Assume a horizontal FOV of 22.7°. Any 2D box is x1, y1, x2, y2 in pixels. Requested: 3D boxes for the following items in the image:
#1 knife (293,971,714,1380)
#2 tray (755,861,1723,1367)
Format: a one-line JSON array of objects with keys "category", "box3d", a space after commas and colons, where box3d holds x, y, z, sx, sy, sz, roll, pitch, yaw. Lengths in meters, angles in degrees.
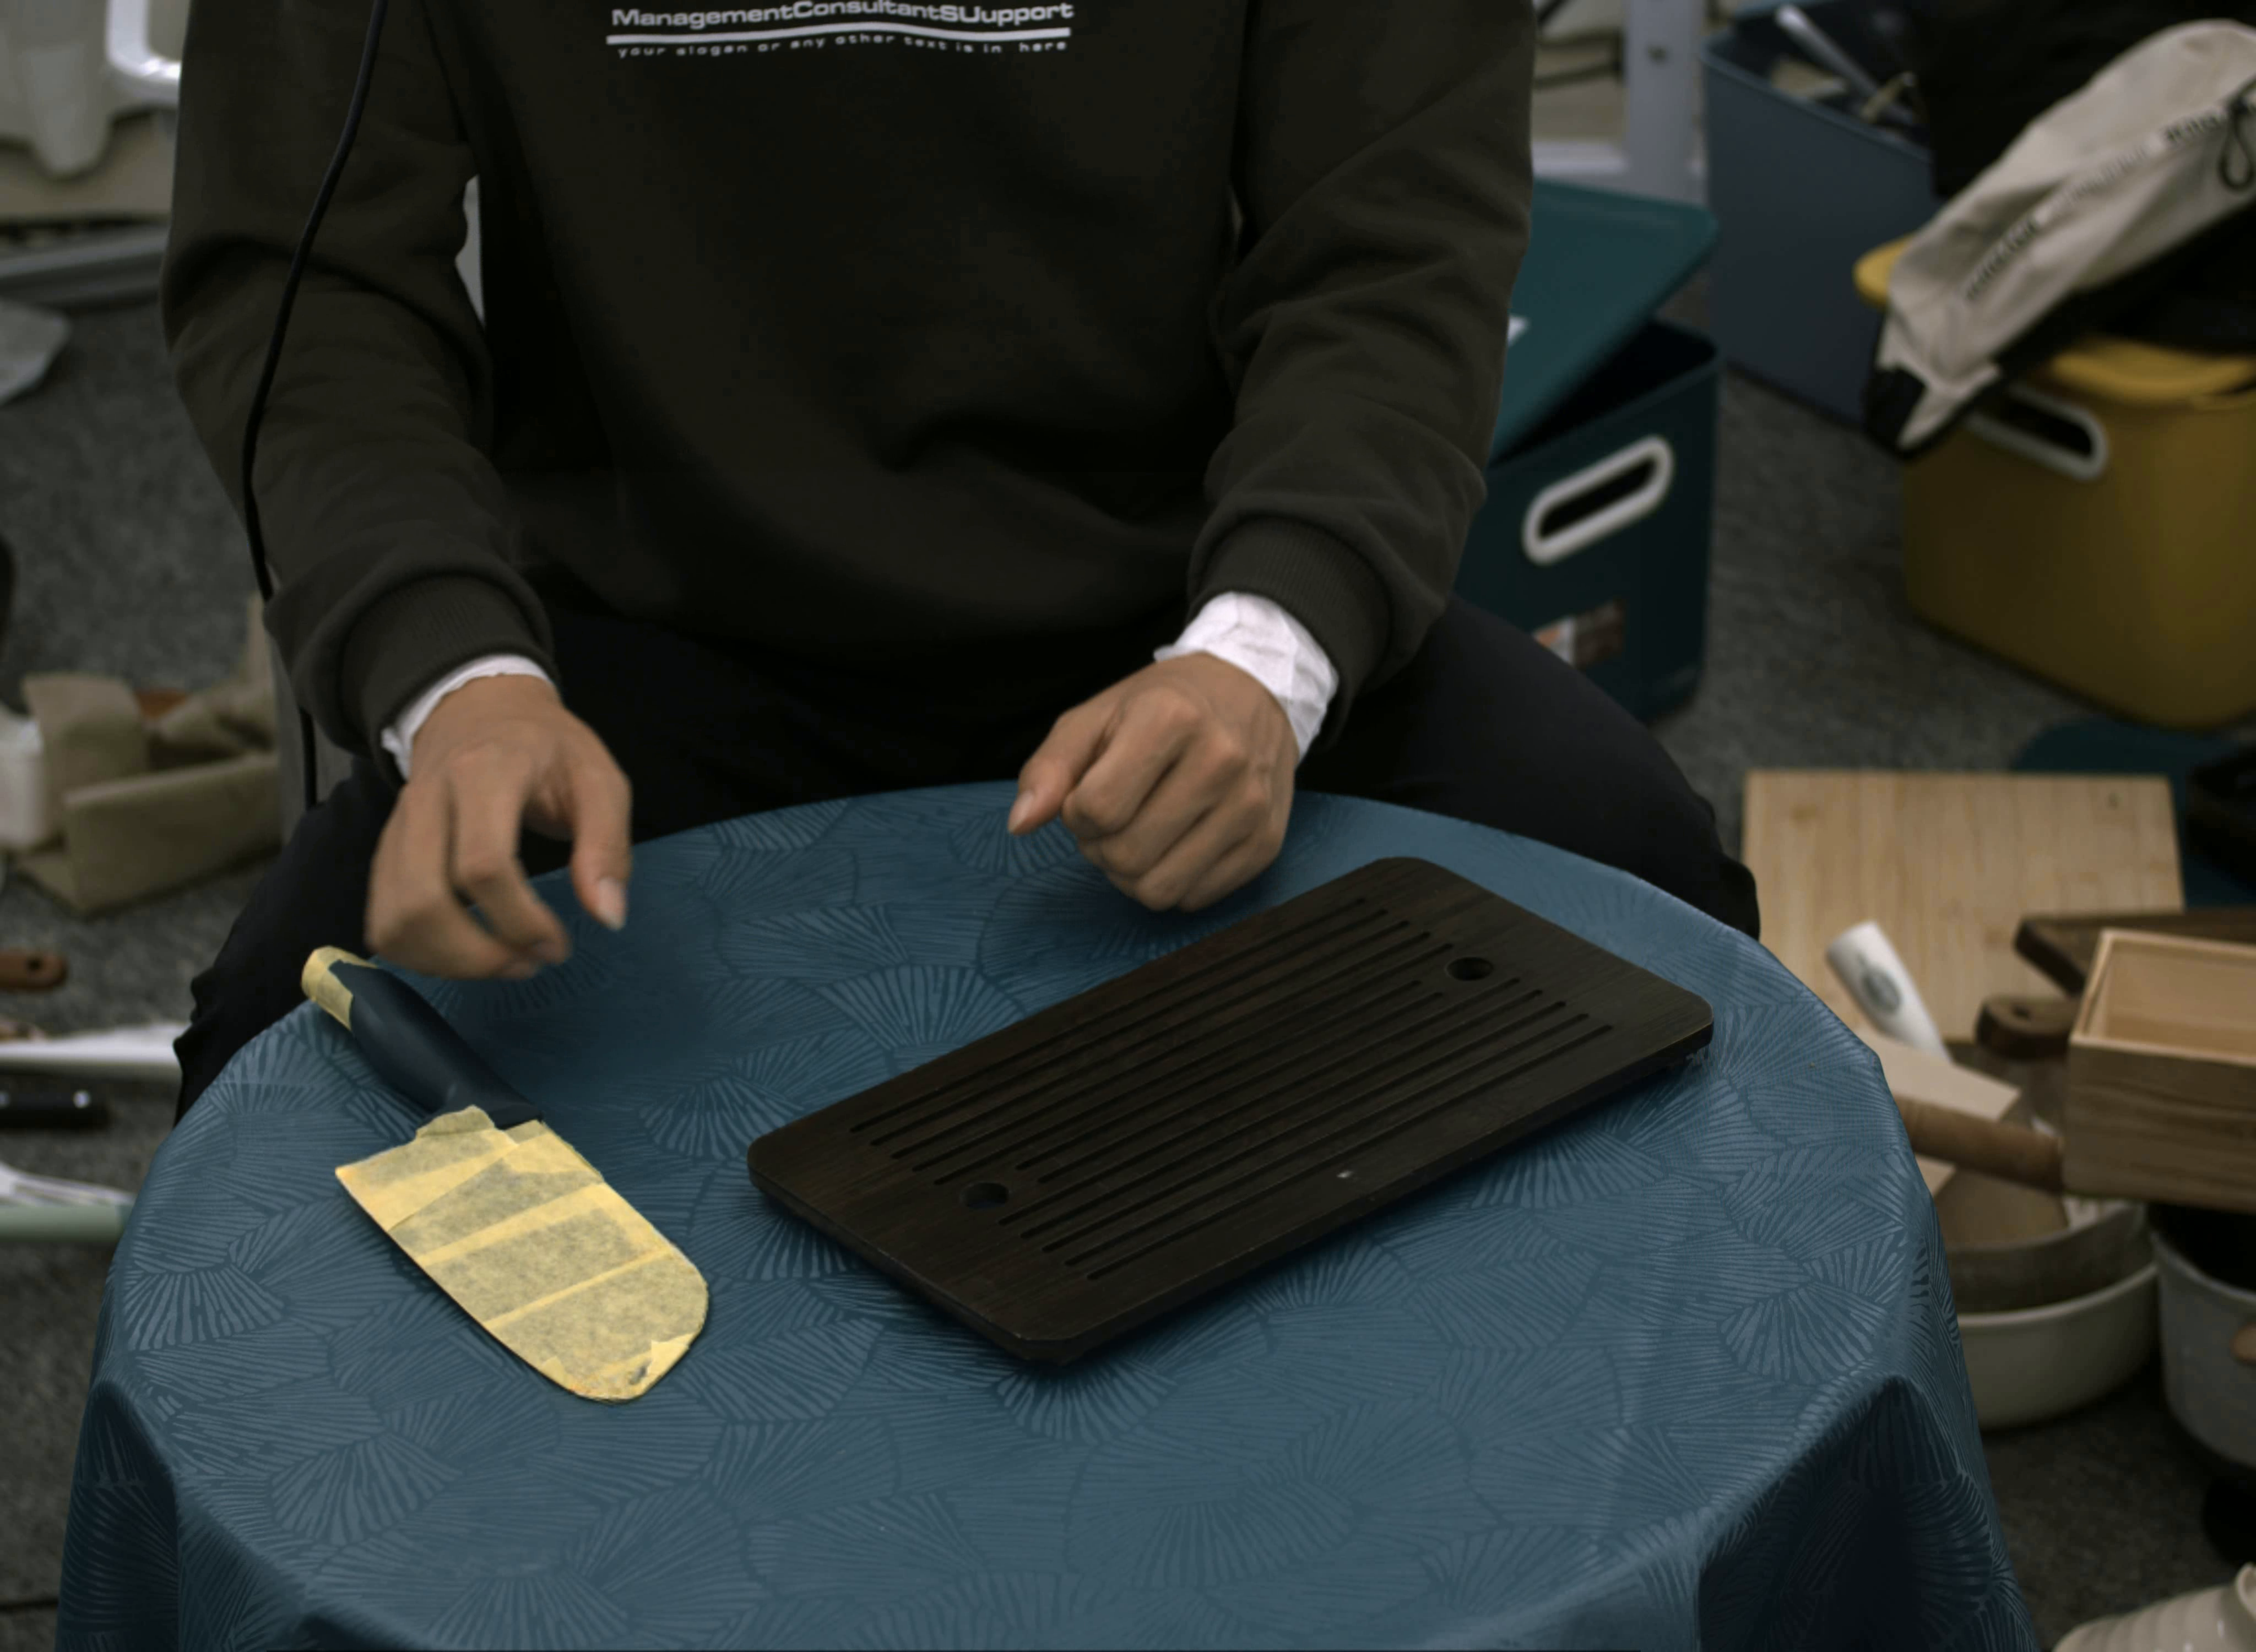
[{"category": "knife", "box3d": [-0.222, 0.117, 1.875, 0.081, 0.027, 0.291, -16, 31, -27]}, {"category": "tray", "box3d": [0.040, 0.094, 1.891, 0.309, 0.018, 0.170, -23, 33, -34]}]
